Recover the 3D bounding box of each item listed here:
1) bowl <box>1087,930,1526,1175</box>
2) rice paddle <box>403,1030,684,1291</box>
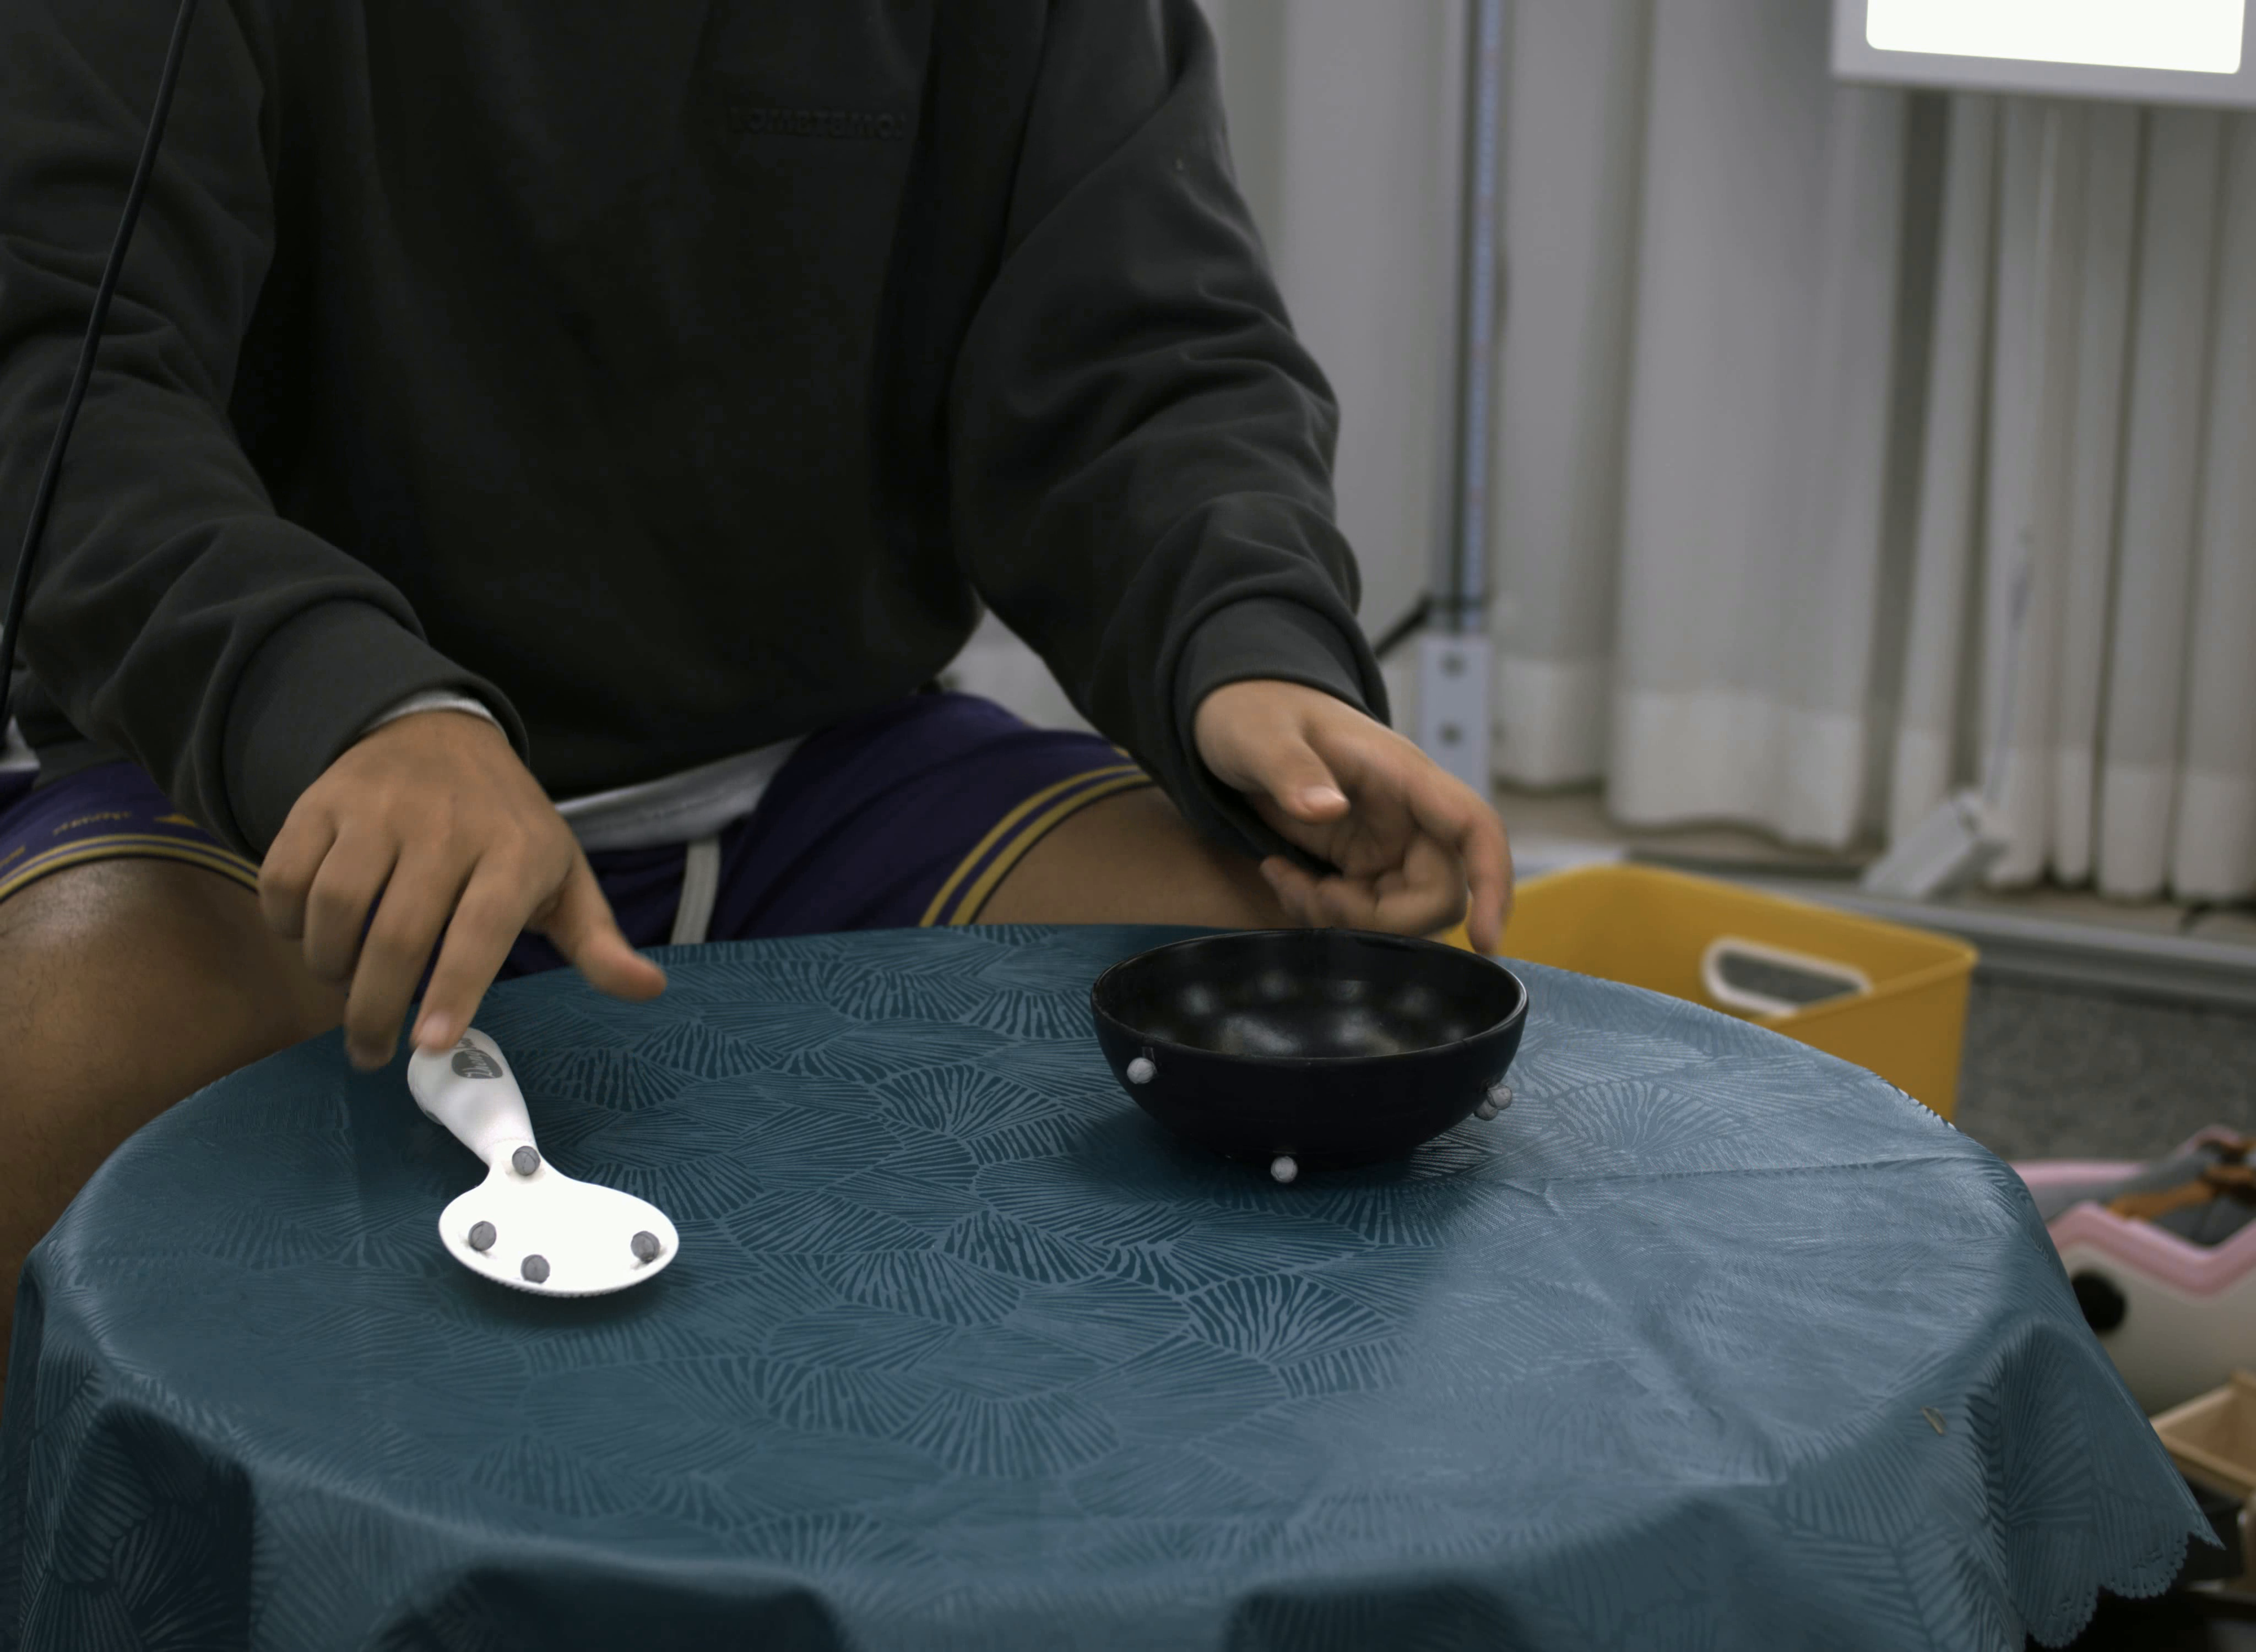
[{"bbox_3d":[0.057,0.076,1.668,0.139,0.050,0.139,0,16,1],"label":"bowl"},{"bbox_3d":[-0.184,0.103,1.593,0.069,0.029,0.203,-4,15,-18],"label":"rice paddle"}]
